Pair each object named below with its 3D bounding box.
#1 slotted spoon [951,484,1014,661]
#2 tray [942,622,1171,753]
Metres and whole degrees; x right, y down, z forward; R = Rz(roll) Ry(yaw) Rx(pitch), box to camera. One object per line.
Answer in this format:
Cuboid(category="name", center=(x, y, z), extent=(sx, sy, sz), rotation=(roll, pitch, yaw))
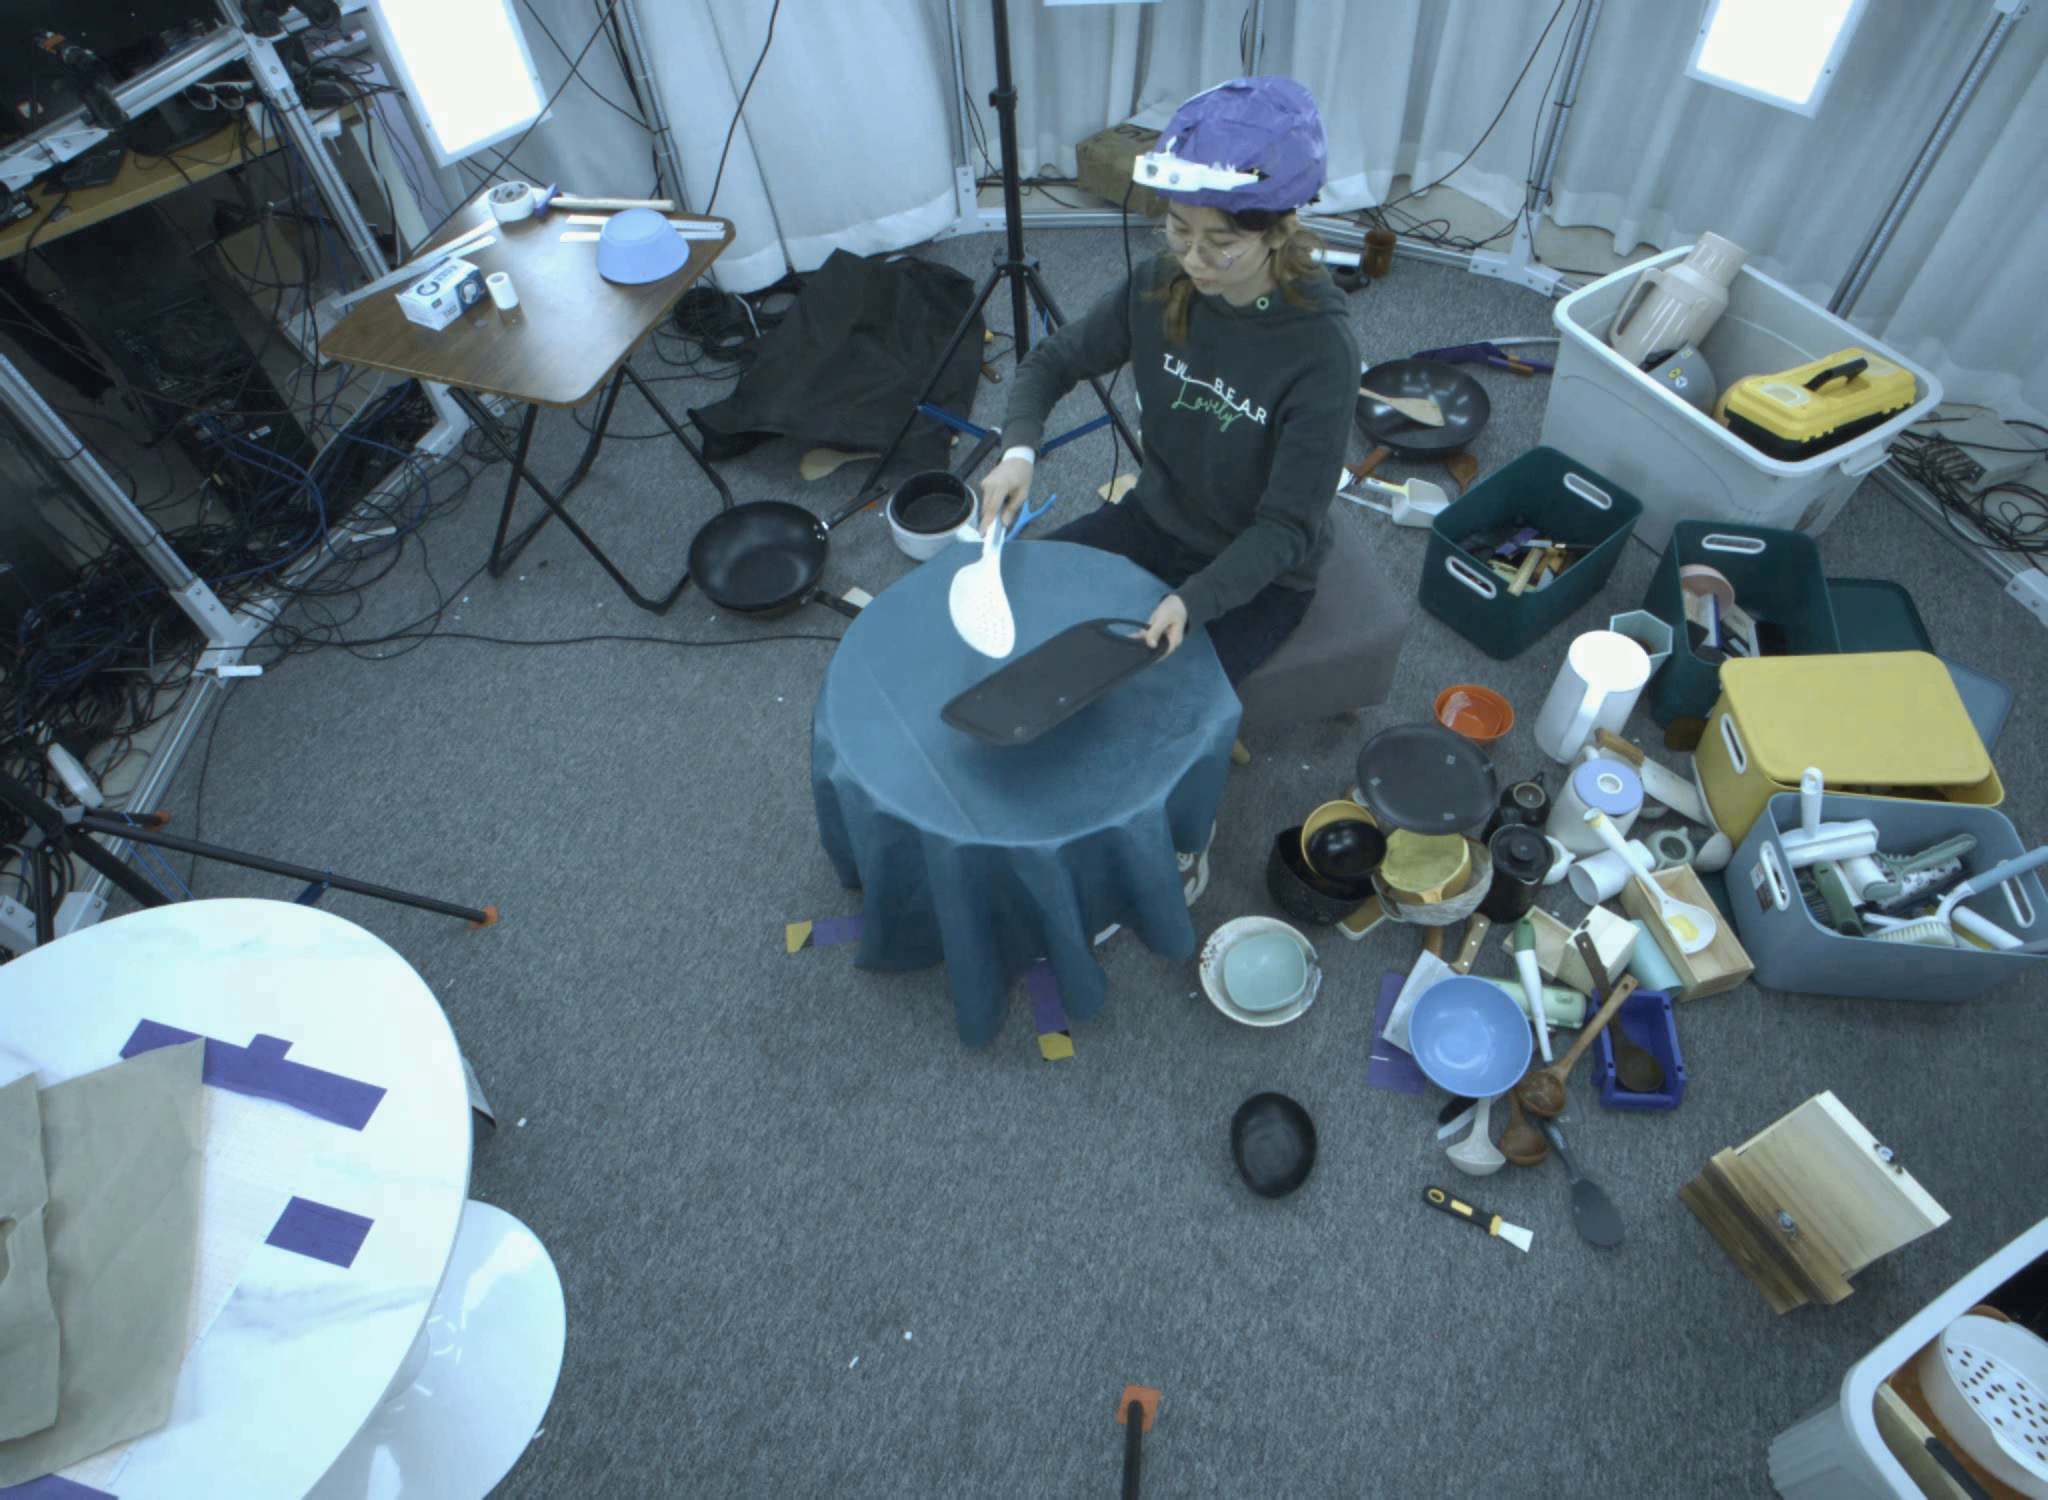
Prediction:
Cuboid(category="slotted spoon", center=(-0.049, -0.273, 1.805), extent=(0.045, 0.139, 0.347), rotation=(-15, 47, 34))
Cuboid(category="tray", center=(0.051, -0.099, 1.729), extent=(0.328, 0.010, 0.206), rotation=(-33, 34, -24))
